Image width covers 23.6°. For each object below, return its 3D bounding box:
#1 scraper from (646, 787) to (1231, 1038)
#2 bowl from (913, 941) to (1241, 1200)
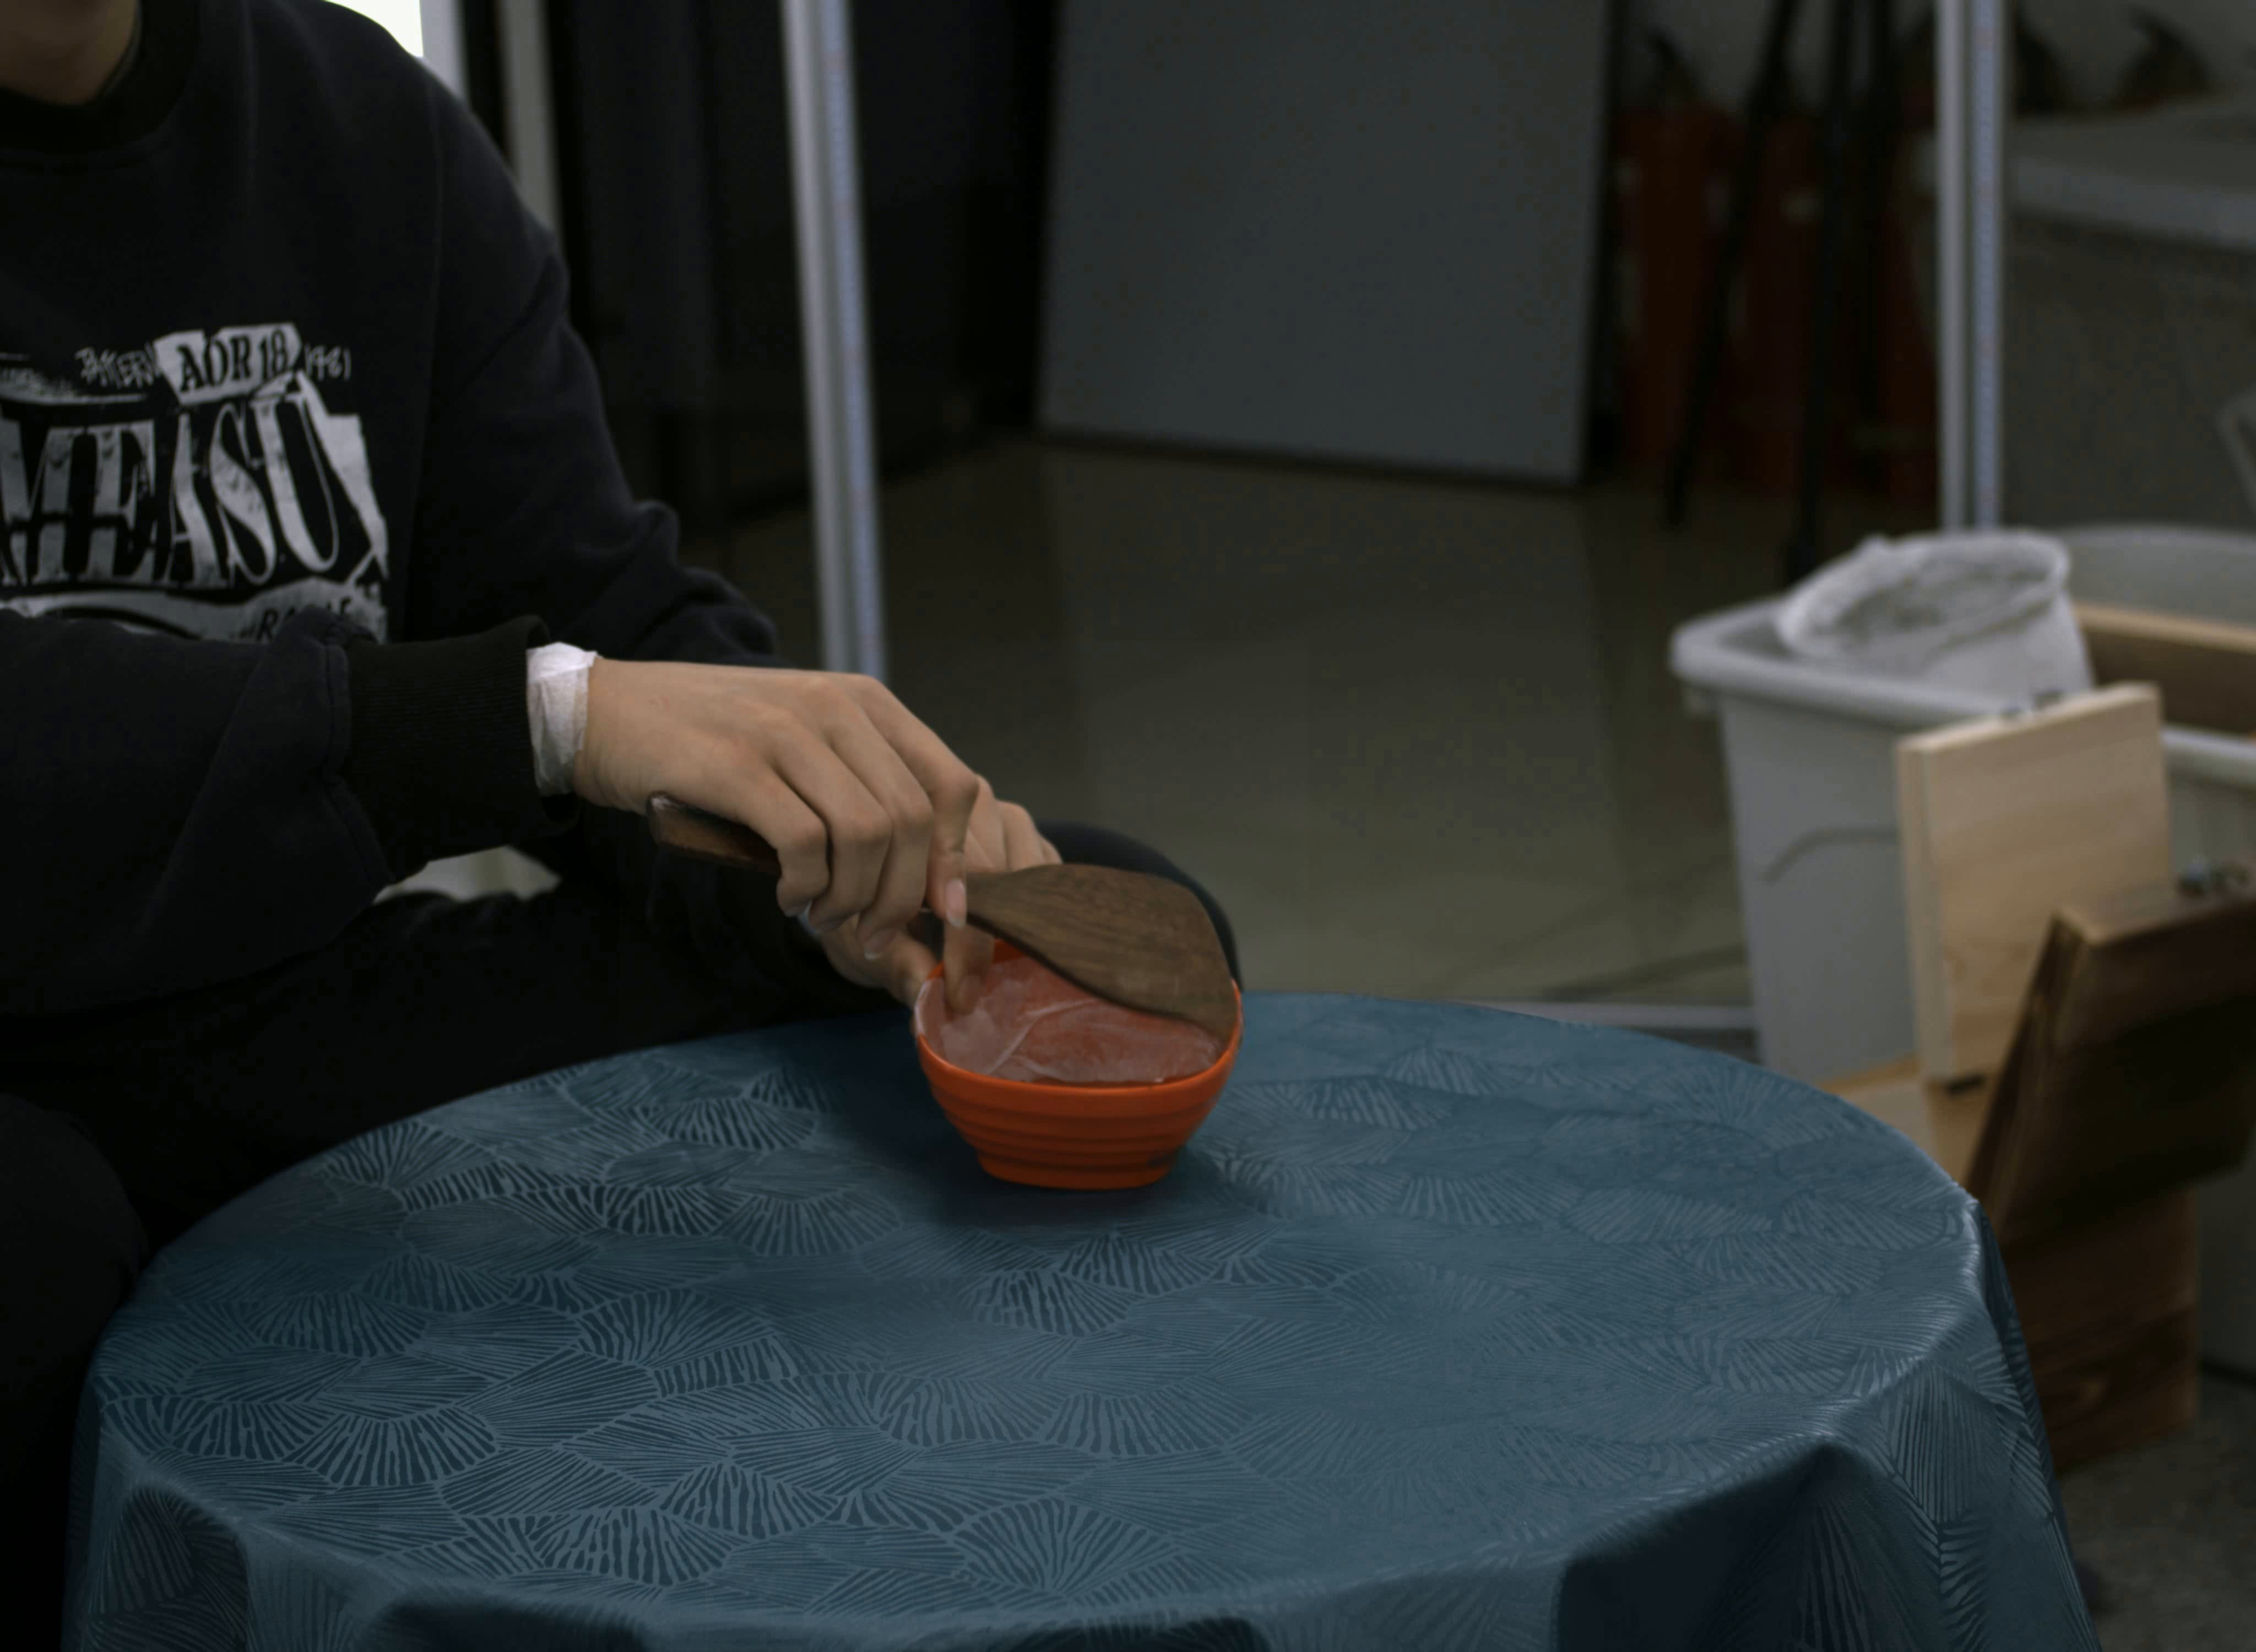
[{"bbox_3d":[-0.061,0.022,1.755,0.207,0.011,0.076,16,36,-24],"label":"scraper"},{"bbox_3d":[-0.017,0.085,1.791,0.117,0.052,0.119,0,27,-1],"label":"bowl"}]
